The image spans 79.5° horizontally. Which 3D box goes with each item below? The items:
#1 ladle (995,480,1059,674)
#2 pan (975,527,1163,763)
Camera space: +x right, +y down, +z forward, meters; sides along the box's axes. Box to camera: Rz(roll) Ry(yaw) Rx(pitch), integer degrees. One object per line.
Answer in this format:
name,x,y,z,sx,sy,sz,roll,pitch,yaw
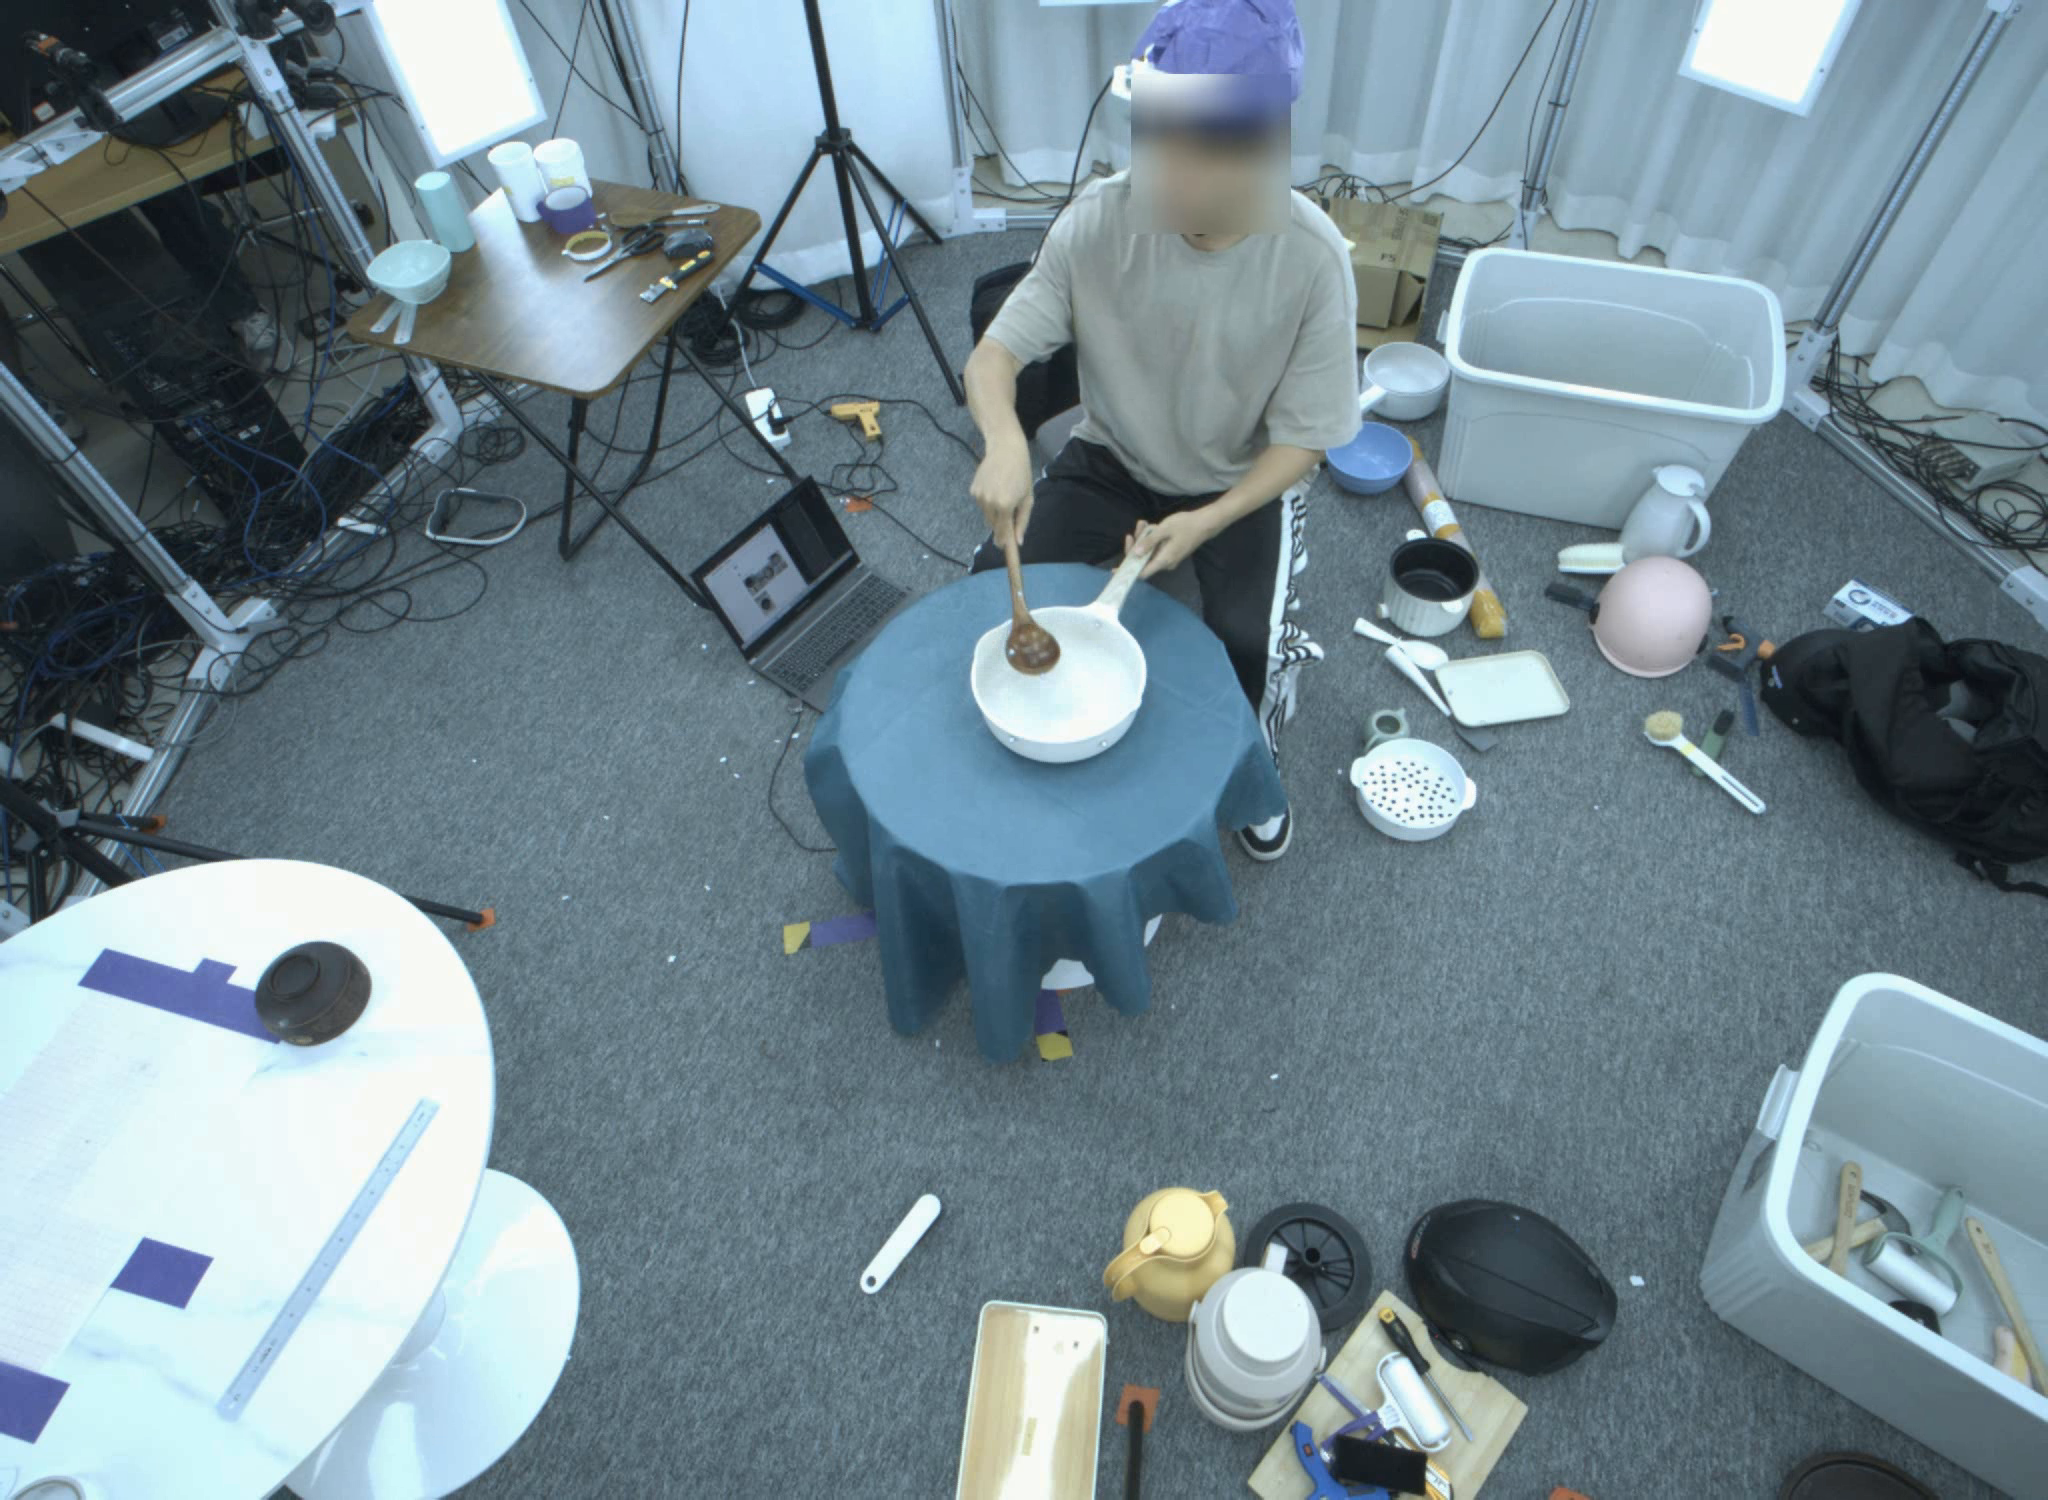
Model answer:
ladle,-0.005,-0.242,1.734,0.083,0.276,0.075,-16,24,-22
pan,0.102,-0.159,1.831,0.259,0.103,0.436,23,59,20
